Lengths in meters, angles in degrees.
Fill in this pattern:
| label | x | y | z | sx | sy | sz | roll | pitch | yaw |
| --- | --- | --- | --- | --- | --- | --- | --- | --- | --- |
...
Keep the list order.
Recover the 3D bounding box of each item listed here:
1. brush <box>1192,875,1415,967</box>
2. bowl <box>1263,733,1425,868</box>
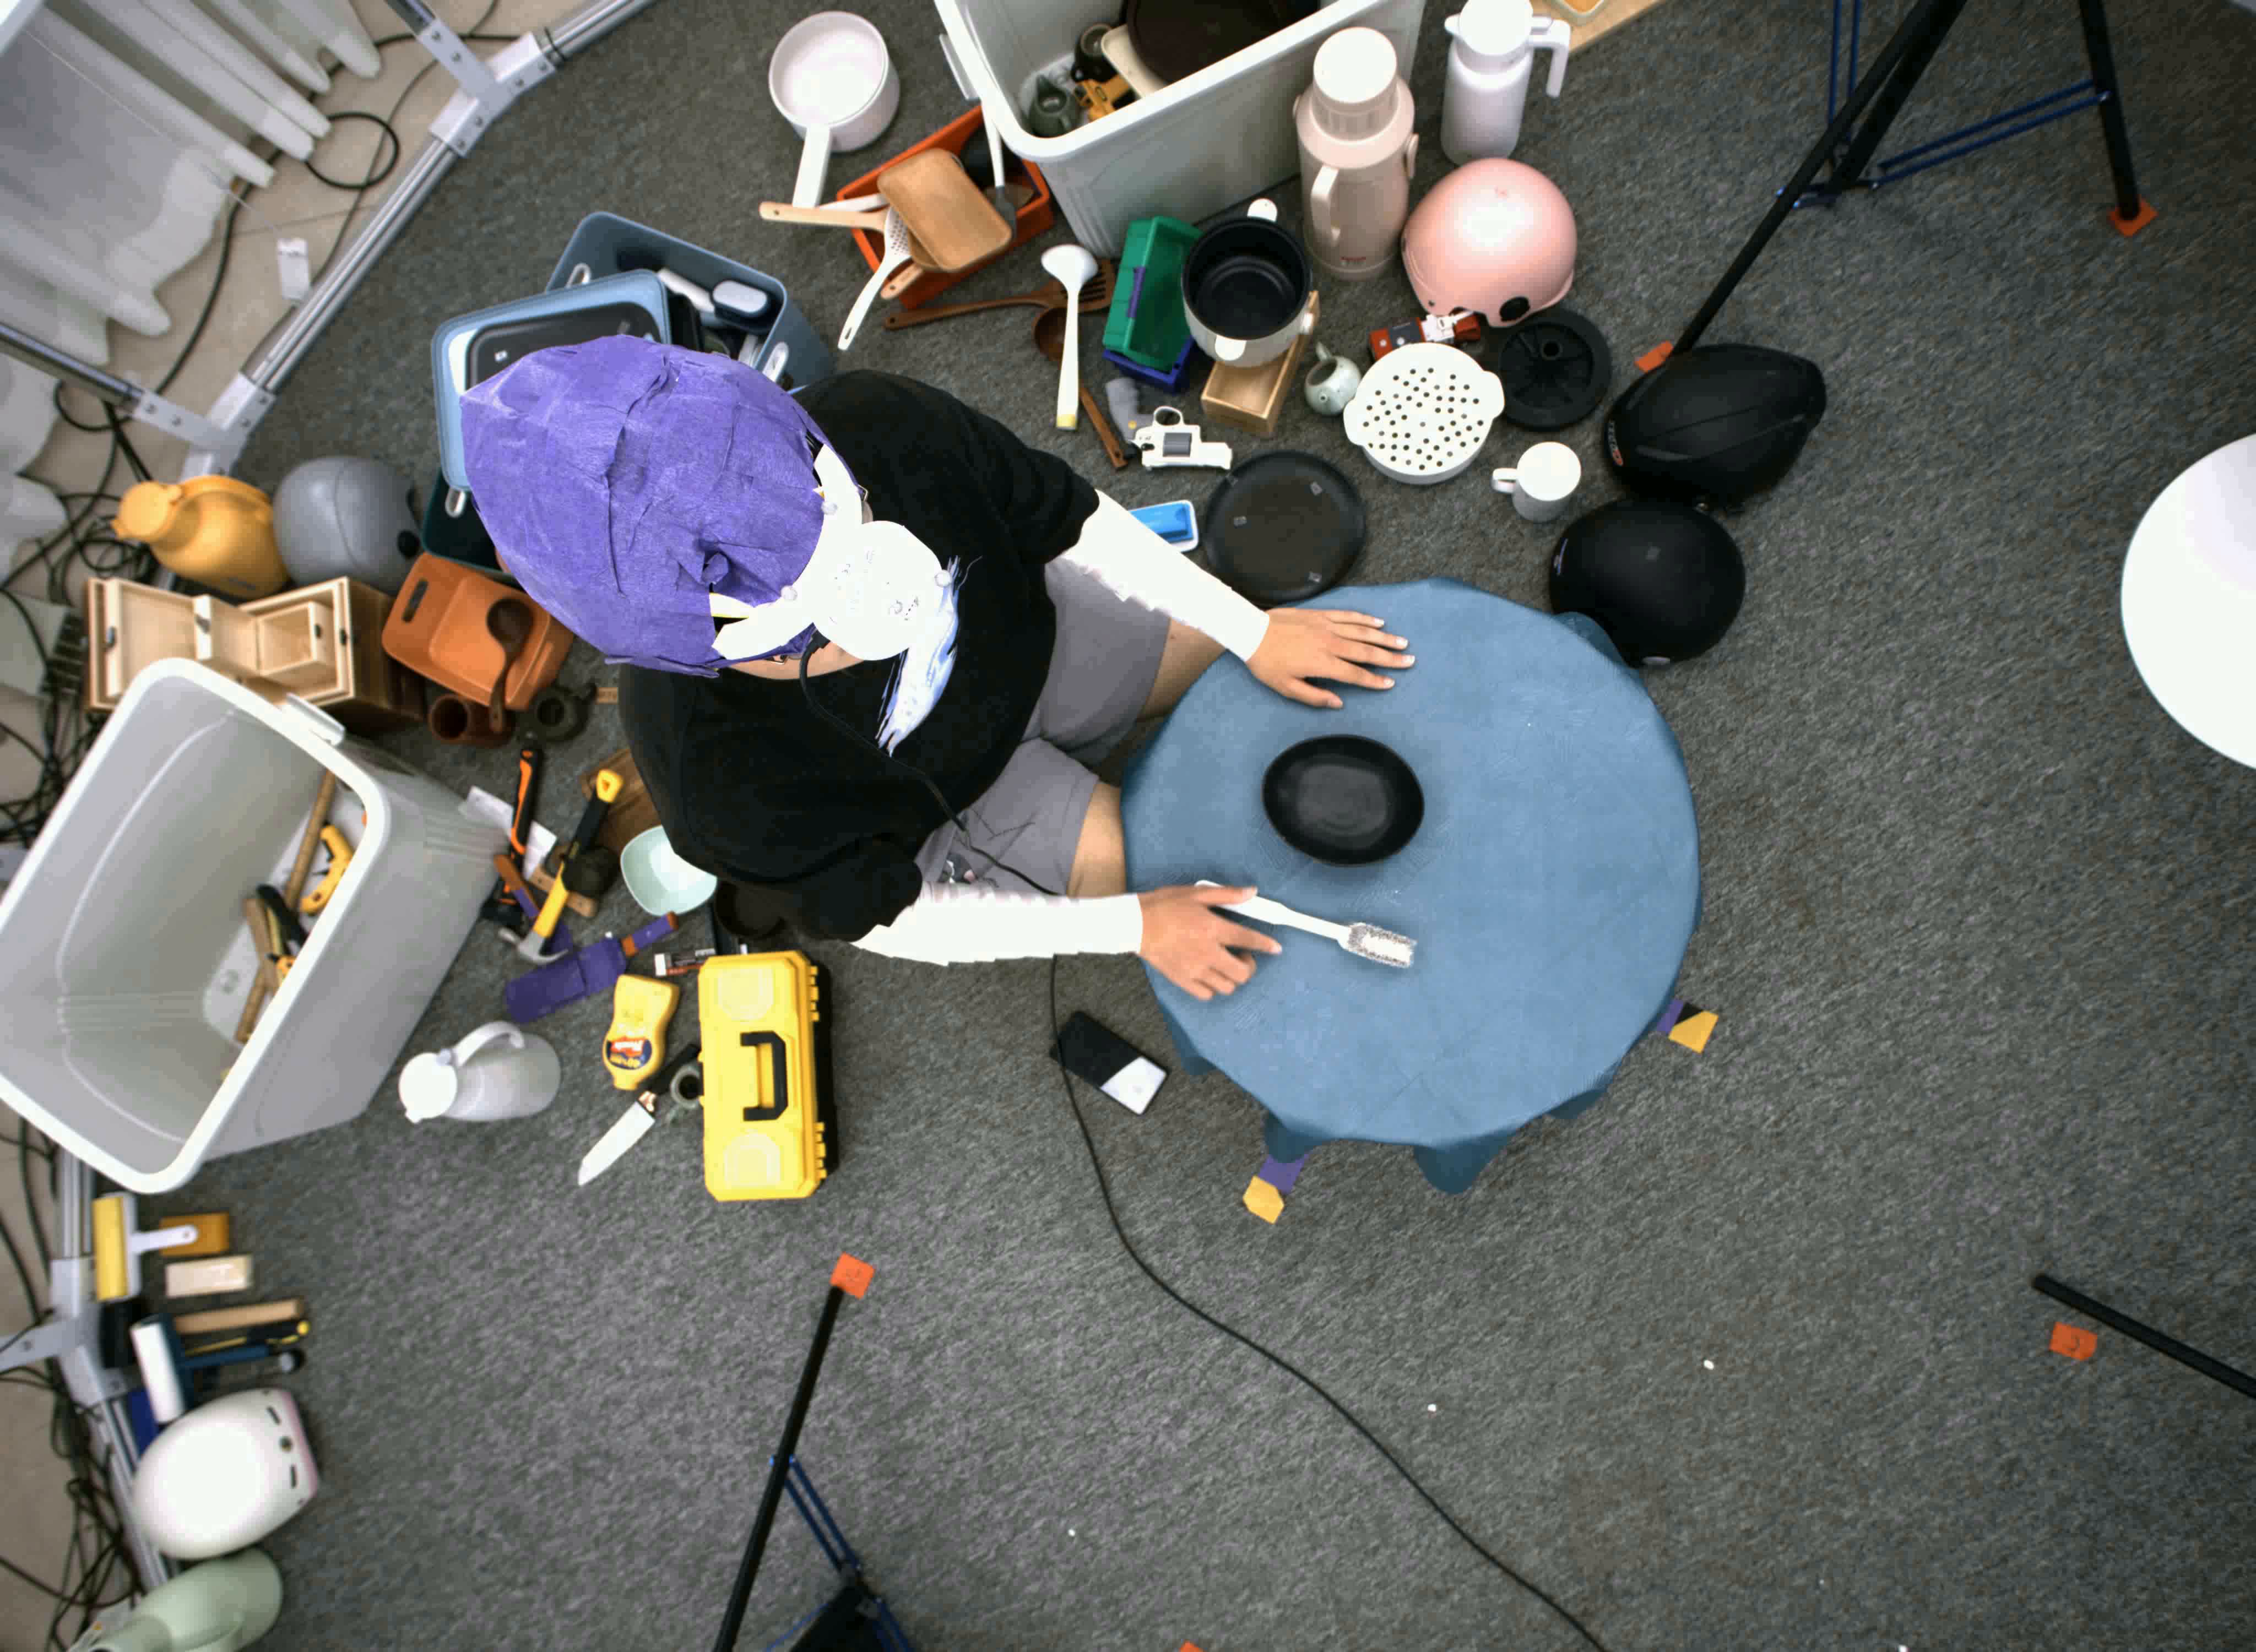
| label | x | y | z | sx | sy | sz | roll | pitch | yaw |
| --- | --- | --- | --- | --- | --- | --- | --- | --- | --- |
| brush | 0.180 | 0.095 | 1.449 | 0.244 | 0.050 | 0.034 | 18 | 88 | 11 |
| bowl | 0.224 | -0.025 | 1.440 | 0.170 | 0.067 | 0.137 | 13 | 89 | 13 |
